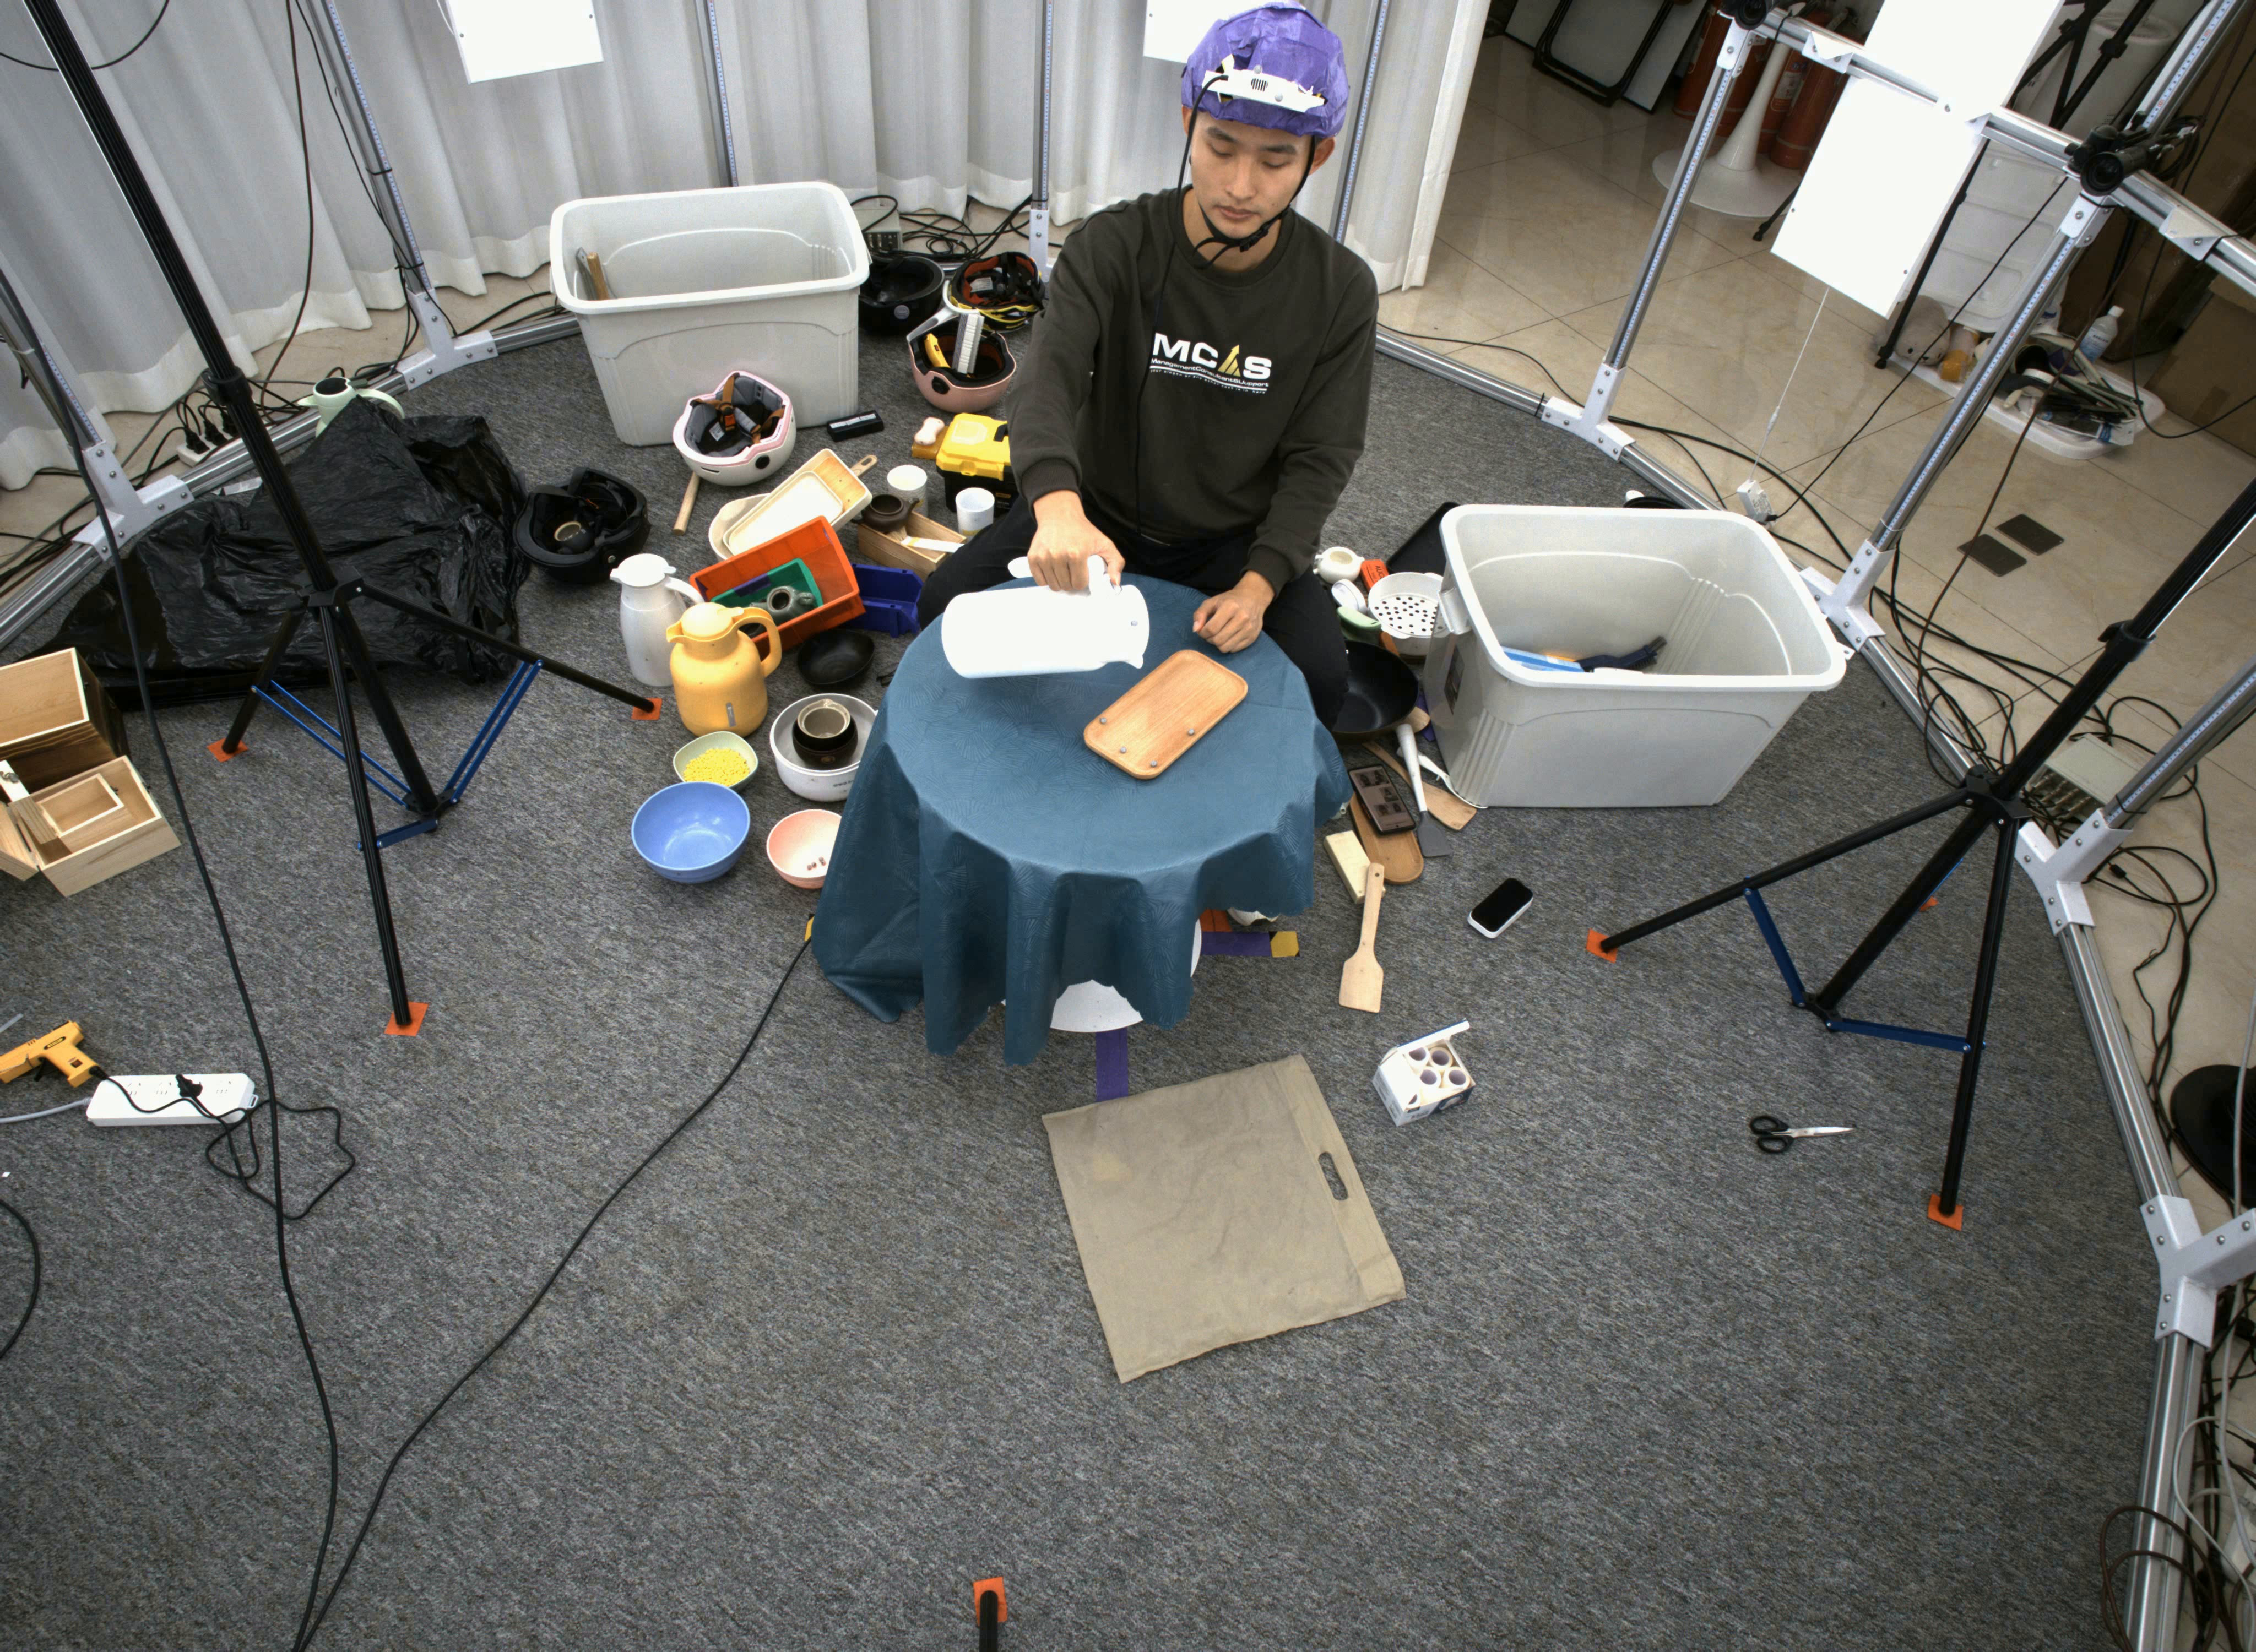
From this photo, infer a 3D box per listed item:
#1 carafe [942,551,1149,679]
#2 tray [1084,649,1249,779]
[{"bbox_3d":[-0.117,-0.276,1.716,0.270,0.169,0.126,0,41,30],"label":"carafe"},{"bbox_3d":[0.056,-0.159,1.797,0.132,0.022,0.253,35,55,21],"label":"tray"}]
